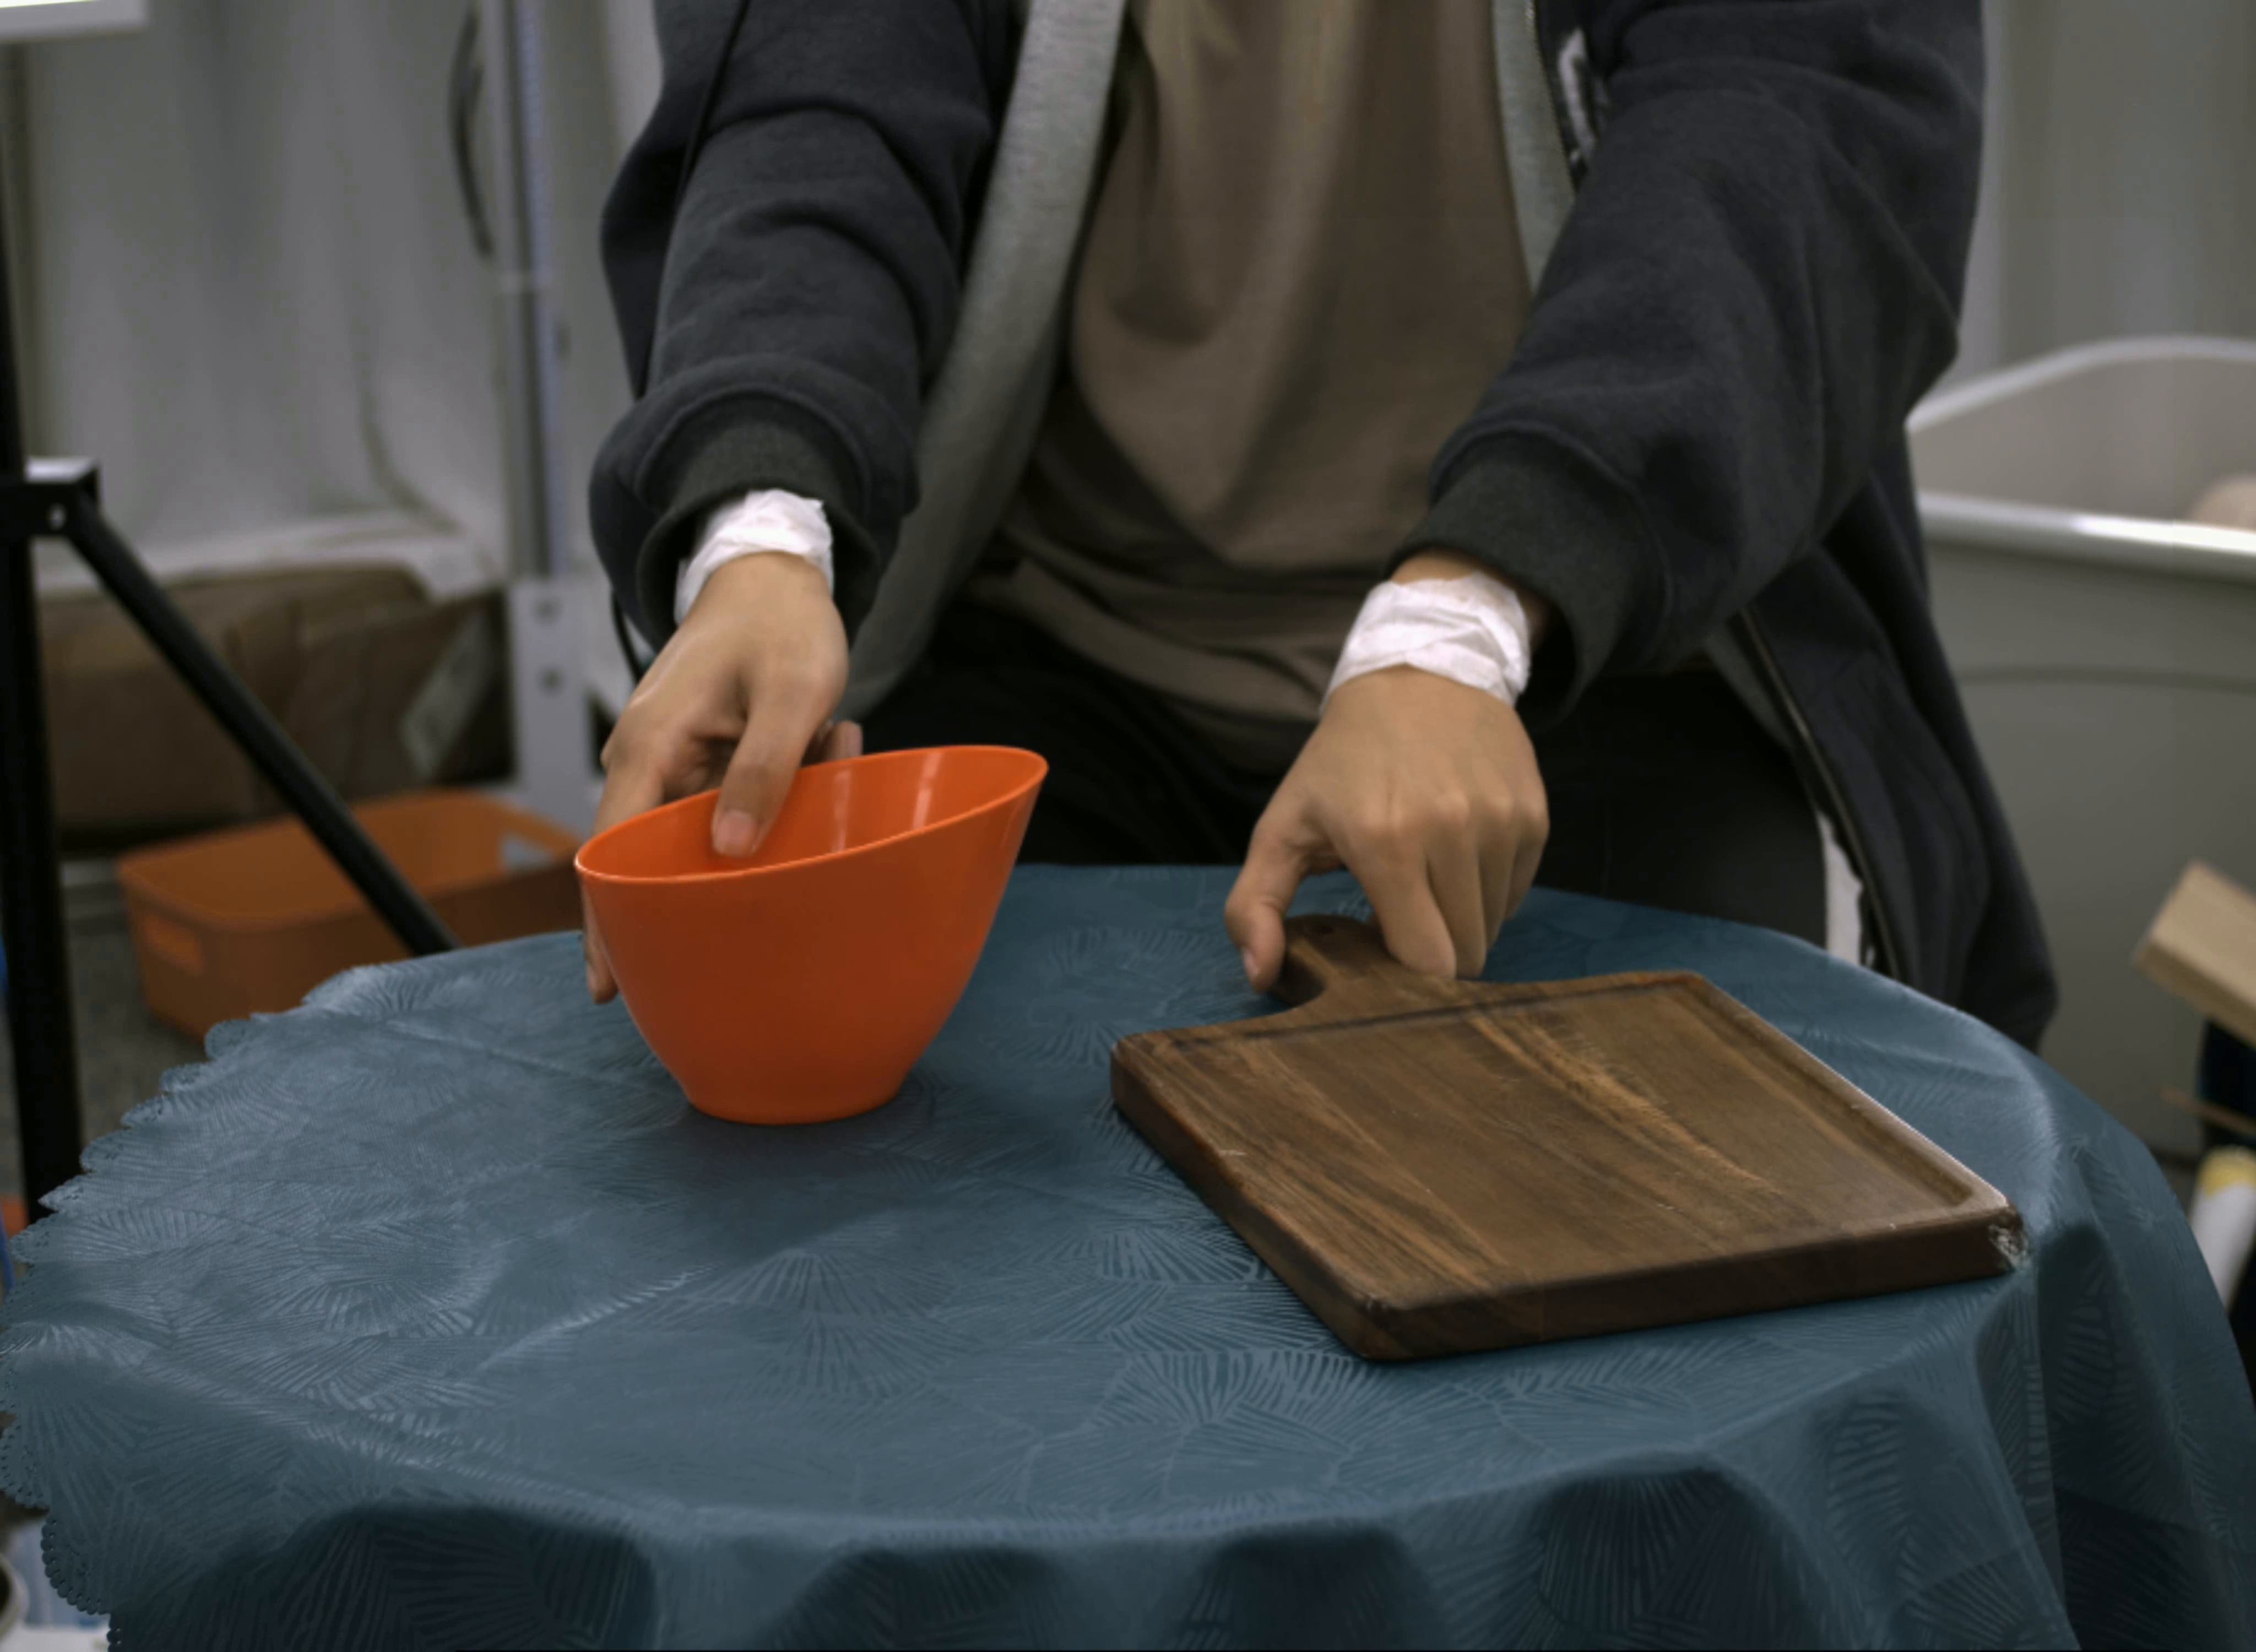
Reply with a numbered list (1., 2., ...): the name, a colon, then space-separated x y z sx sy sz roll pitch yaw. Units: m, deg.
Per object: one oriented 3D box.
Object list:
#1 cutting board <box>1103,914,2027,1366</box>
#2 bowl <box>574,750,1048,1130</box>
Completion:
1. cutting board: 0.107 0.082 1.595 0.198 0.023 0.357 -7 16 -15
2. bowl: -0.096 0.036 1.647 0.147 0.104 0.149 -3 16 -1
